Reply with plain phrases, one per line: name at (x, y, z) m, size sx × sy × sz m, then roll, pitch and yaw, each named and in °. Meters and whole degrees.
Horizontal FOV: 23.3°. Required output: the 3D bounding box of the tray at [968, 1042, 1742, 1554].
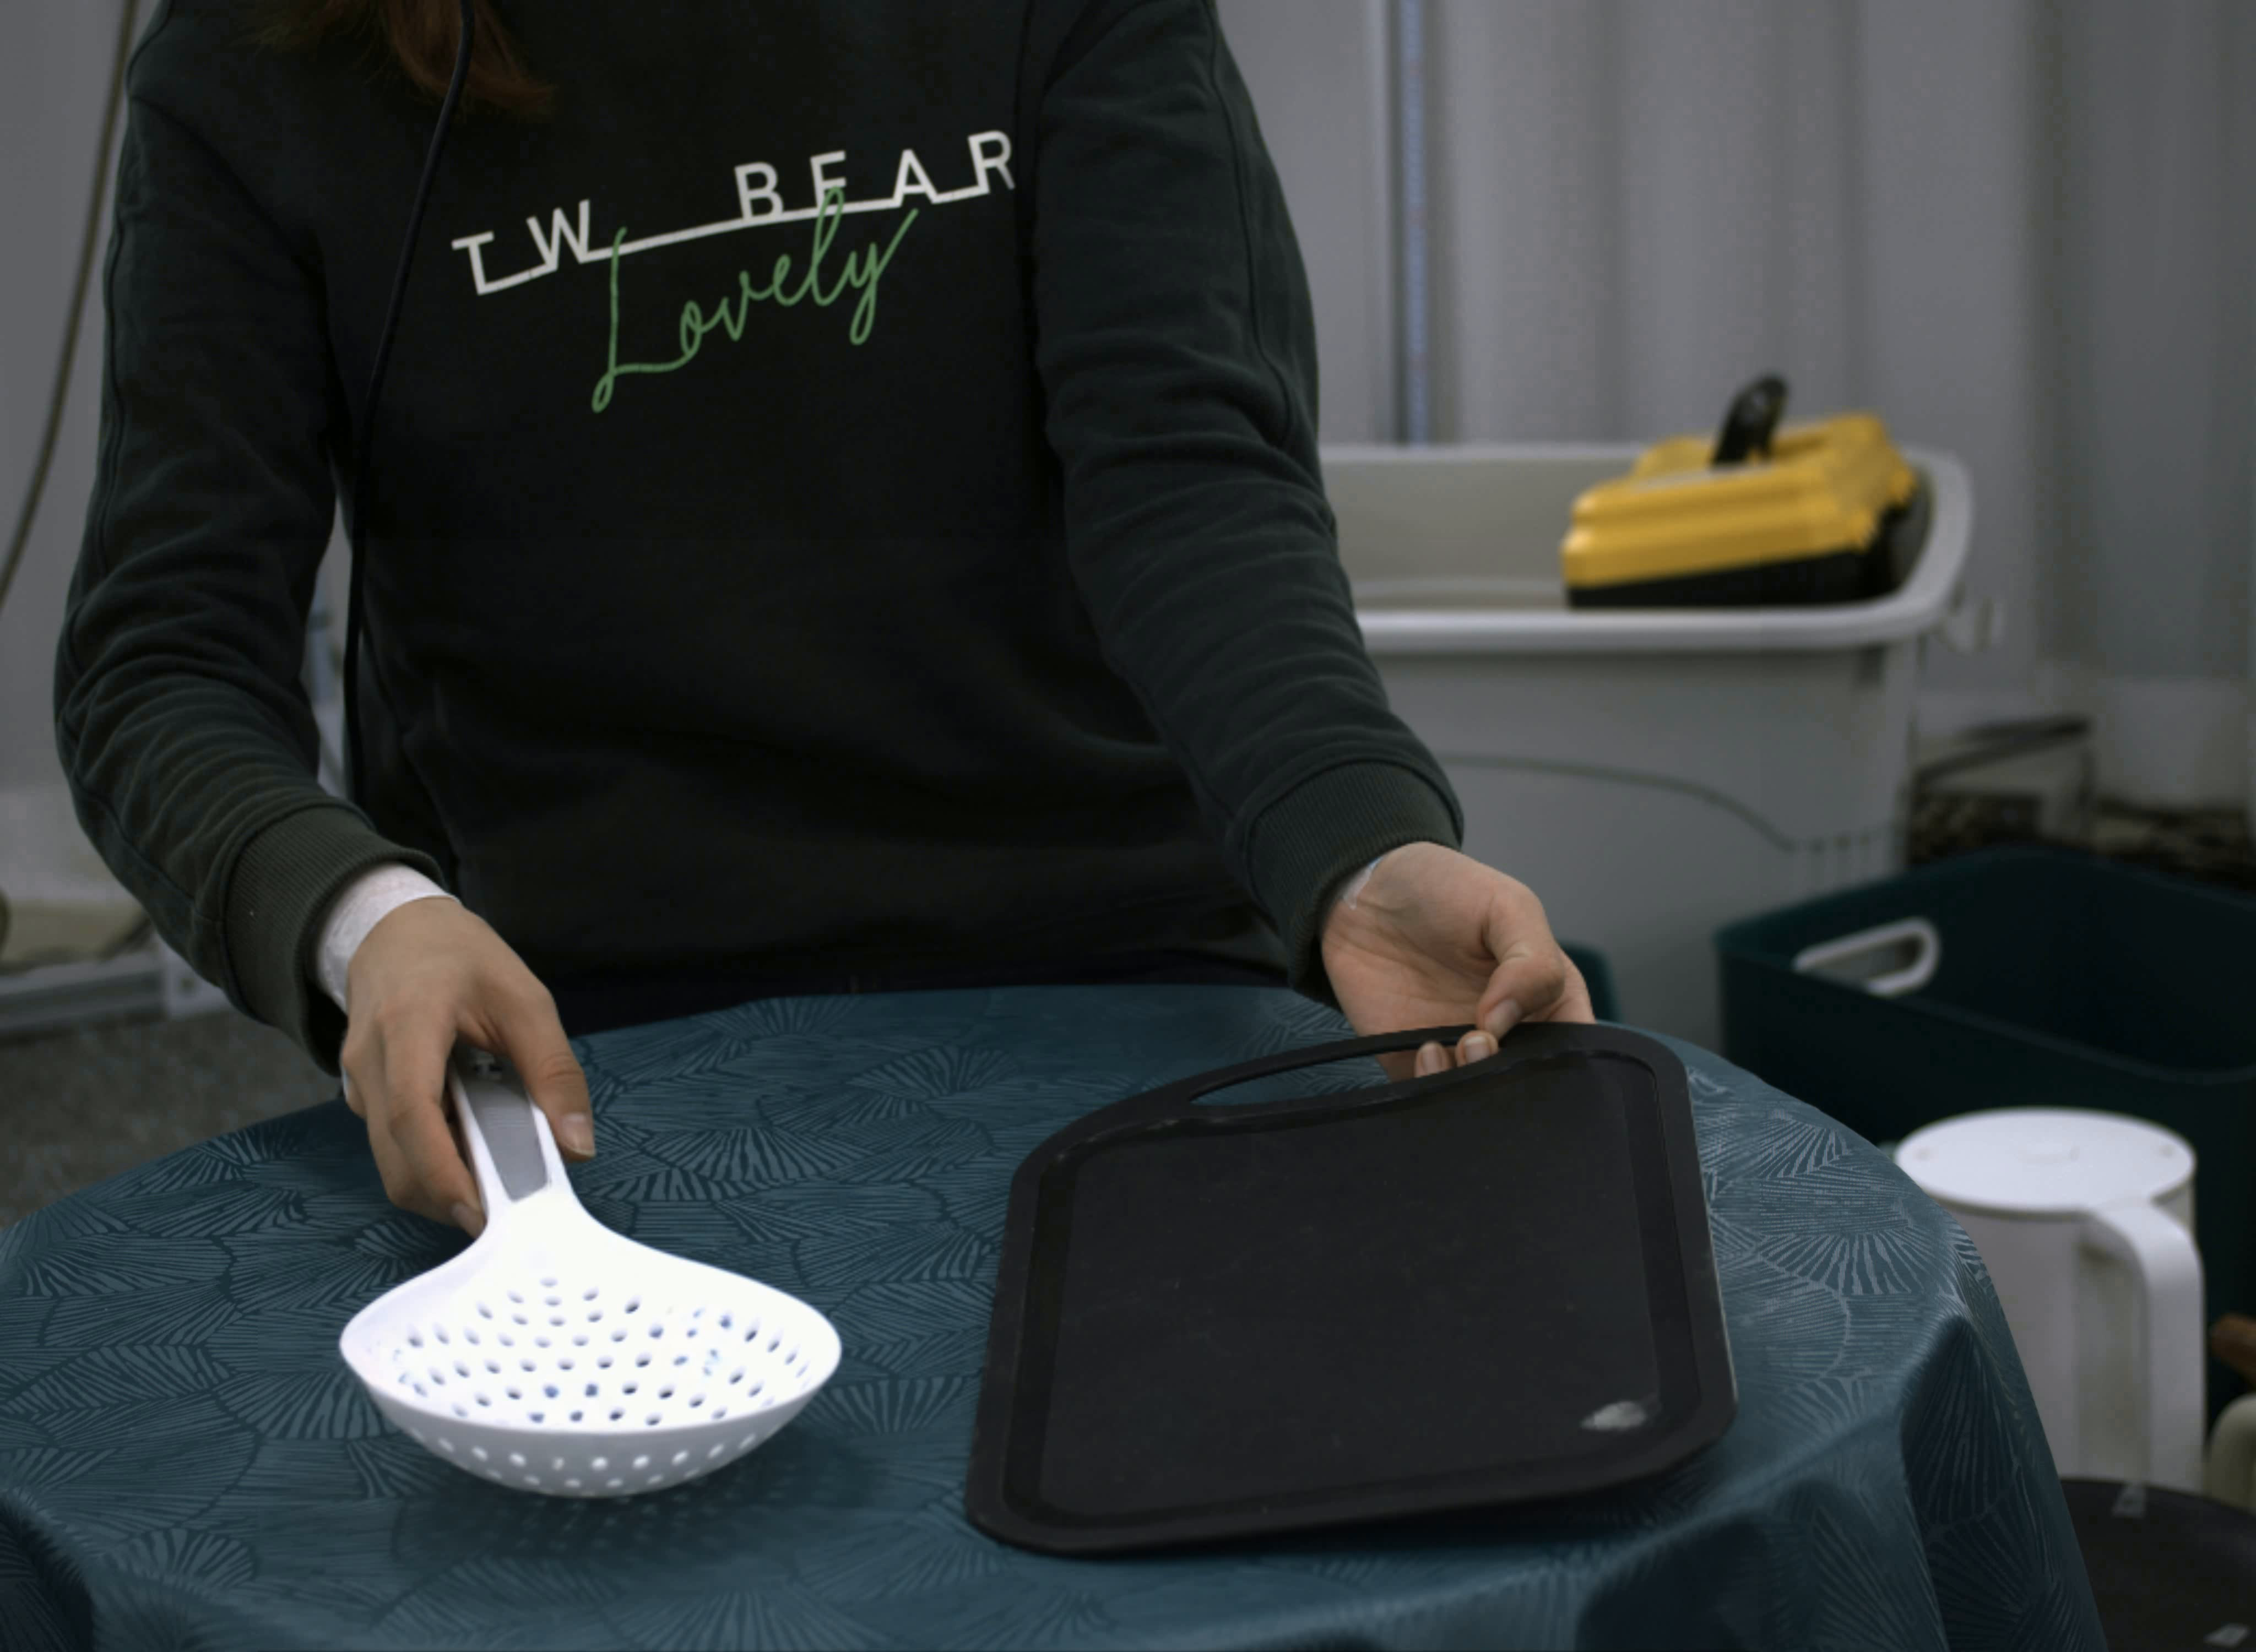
tray at (0.064, 0.126, 1.568) m, size 0.210 × 0.010 × 0.328 m, roll -7°, pitch 19°, yaw 5°

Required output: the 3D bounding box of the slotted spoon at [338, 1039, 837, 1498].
slotted spoon at (-0.170, 0.120, 1.593) m, size 0.135 × 0.045 × 0.353 m, roll 1°, pitch 19°, yaw -13°
